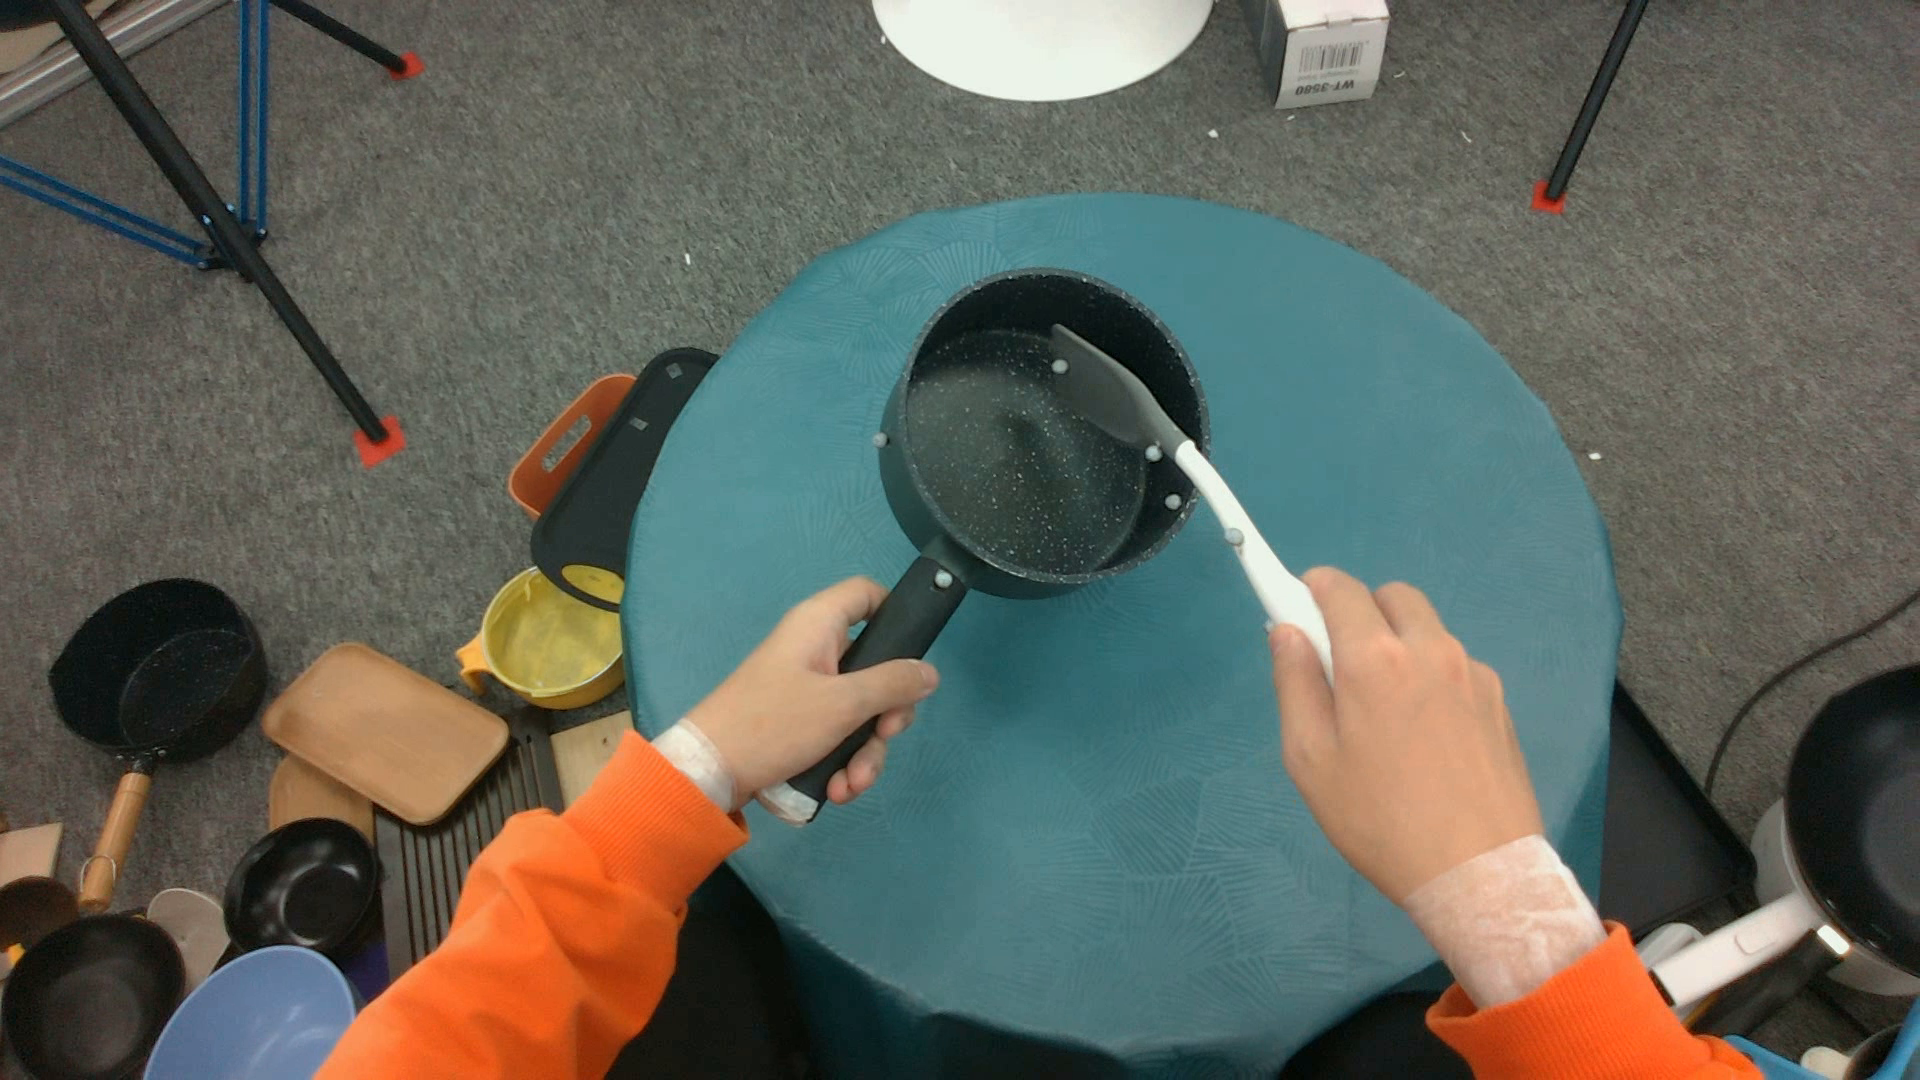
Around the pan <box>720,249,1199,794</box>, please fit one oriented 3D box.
[{"bbox_3d":[-0.010,-0.004,0.711,0.172,0.086,0.330,39,68,-3],"label":"pan"}]

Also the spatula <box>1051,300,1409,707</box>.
[{"bbox_3d":[0.114,-0.028,0.657,0.032,0.058,0.288,-19,43,-14],"label":"spatula"}]
